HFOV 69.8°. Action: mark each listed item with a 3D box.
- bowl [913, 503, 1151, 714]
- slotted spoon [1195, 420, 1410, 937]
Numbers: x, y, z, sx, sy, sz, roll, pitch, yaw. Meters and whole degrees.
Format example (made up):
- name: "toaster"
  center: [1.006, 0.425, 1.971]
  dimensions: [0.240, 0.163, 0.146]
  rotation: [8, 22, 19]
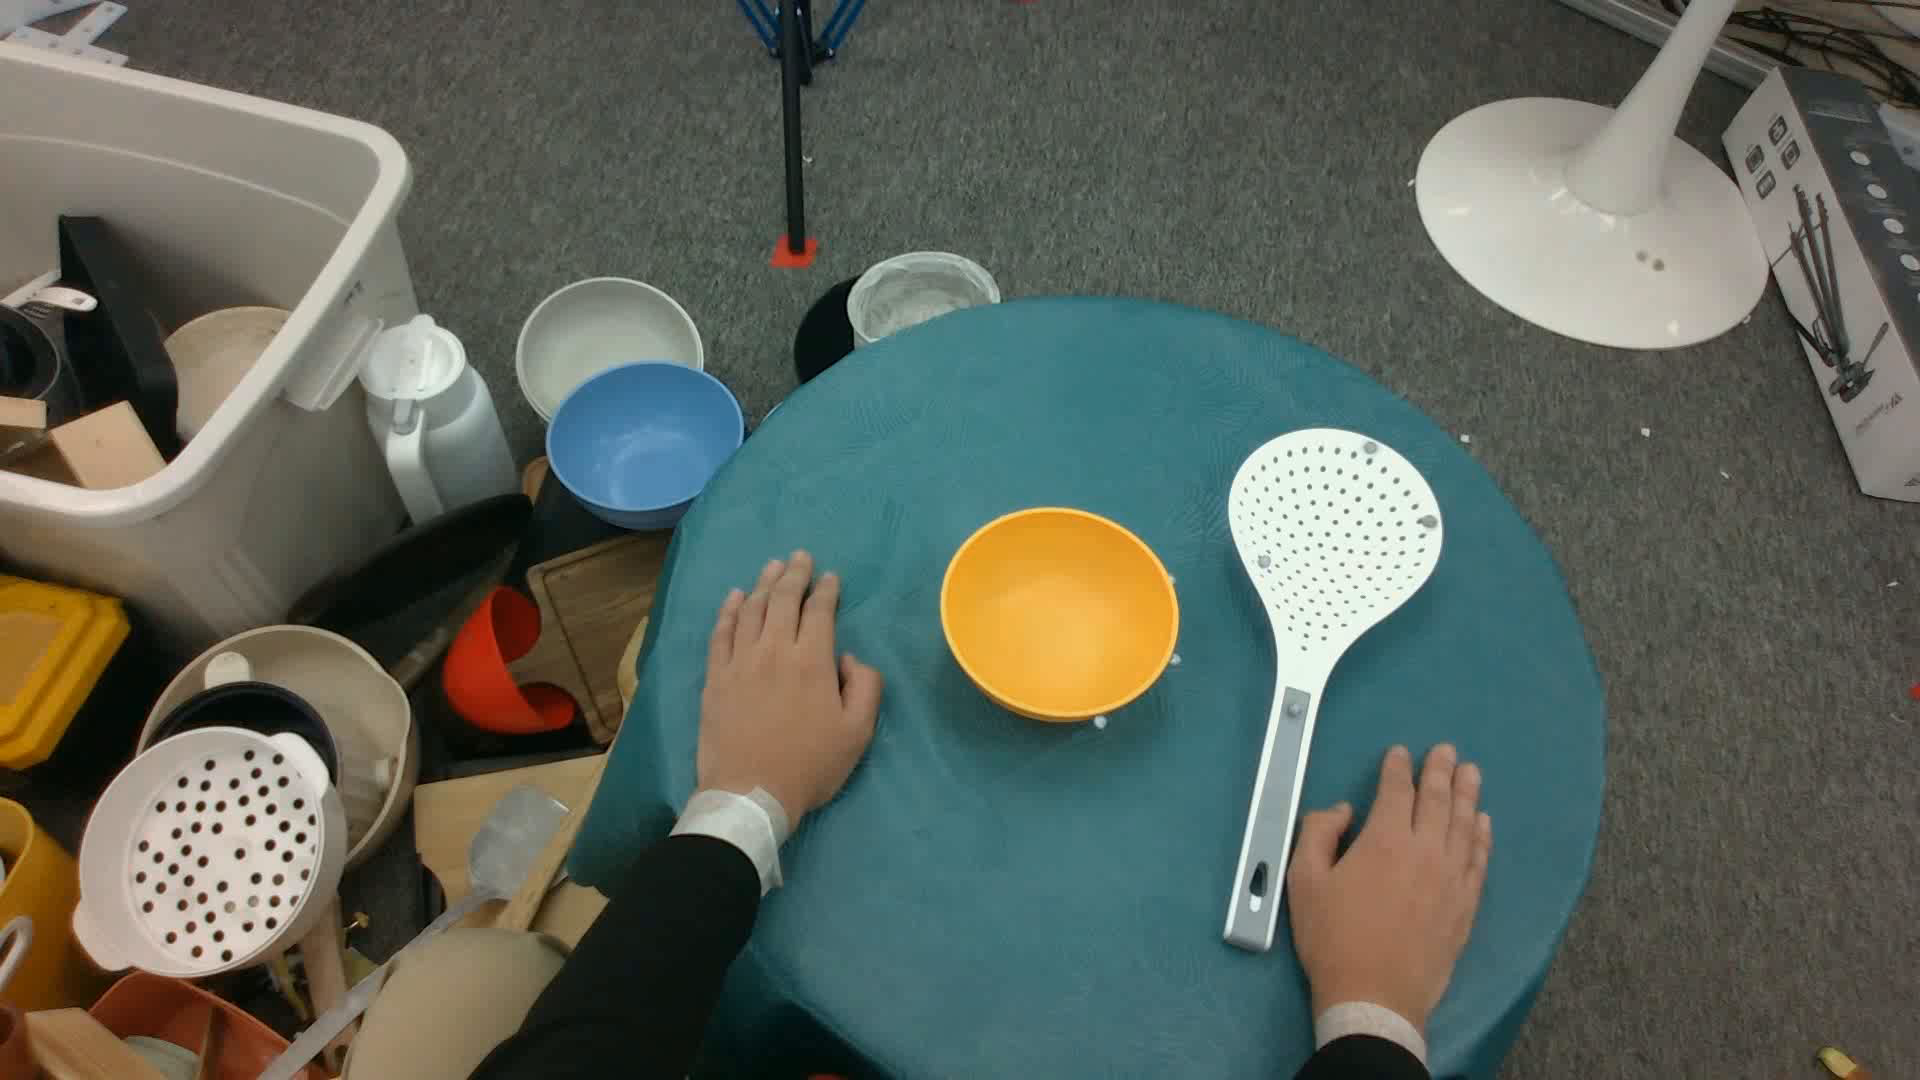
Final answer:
- name: "bowl"
  center: [0.042, 0.051, 0.847]
  dimensions: [0.145, 0.060, 0.146]
  rotation: [2, 55, -3]
- name: "slotted spoon"
  center: [0.195, 0.073, 0.854]
  dimensions: [0.136, 0.045, 0.351]
  rotation: [16, 58, 6]
